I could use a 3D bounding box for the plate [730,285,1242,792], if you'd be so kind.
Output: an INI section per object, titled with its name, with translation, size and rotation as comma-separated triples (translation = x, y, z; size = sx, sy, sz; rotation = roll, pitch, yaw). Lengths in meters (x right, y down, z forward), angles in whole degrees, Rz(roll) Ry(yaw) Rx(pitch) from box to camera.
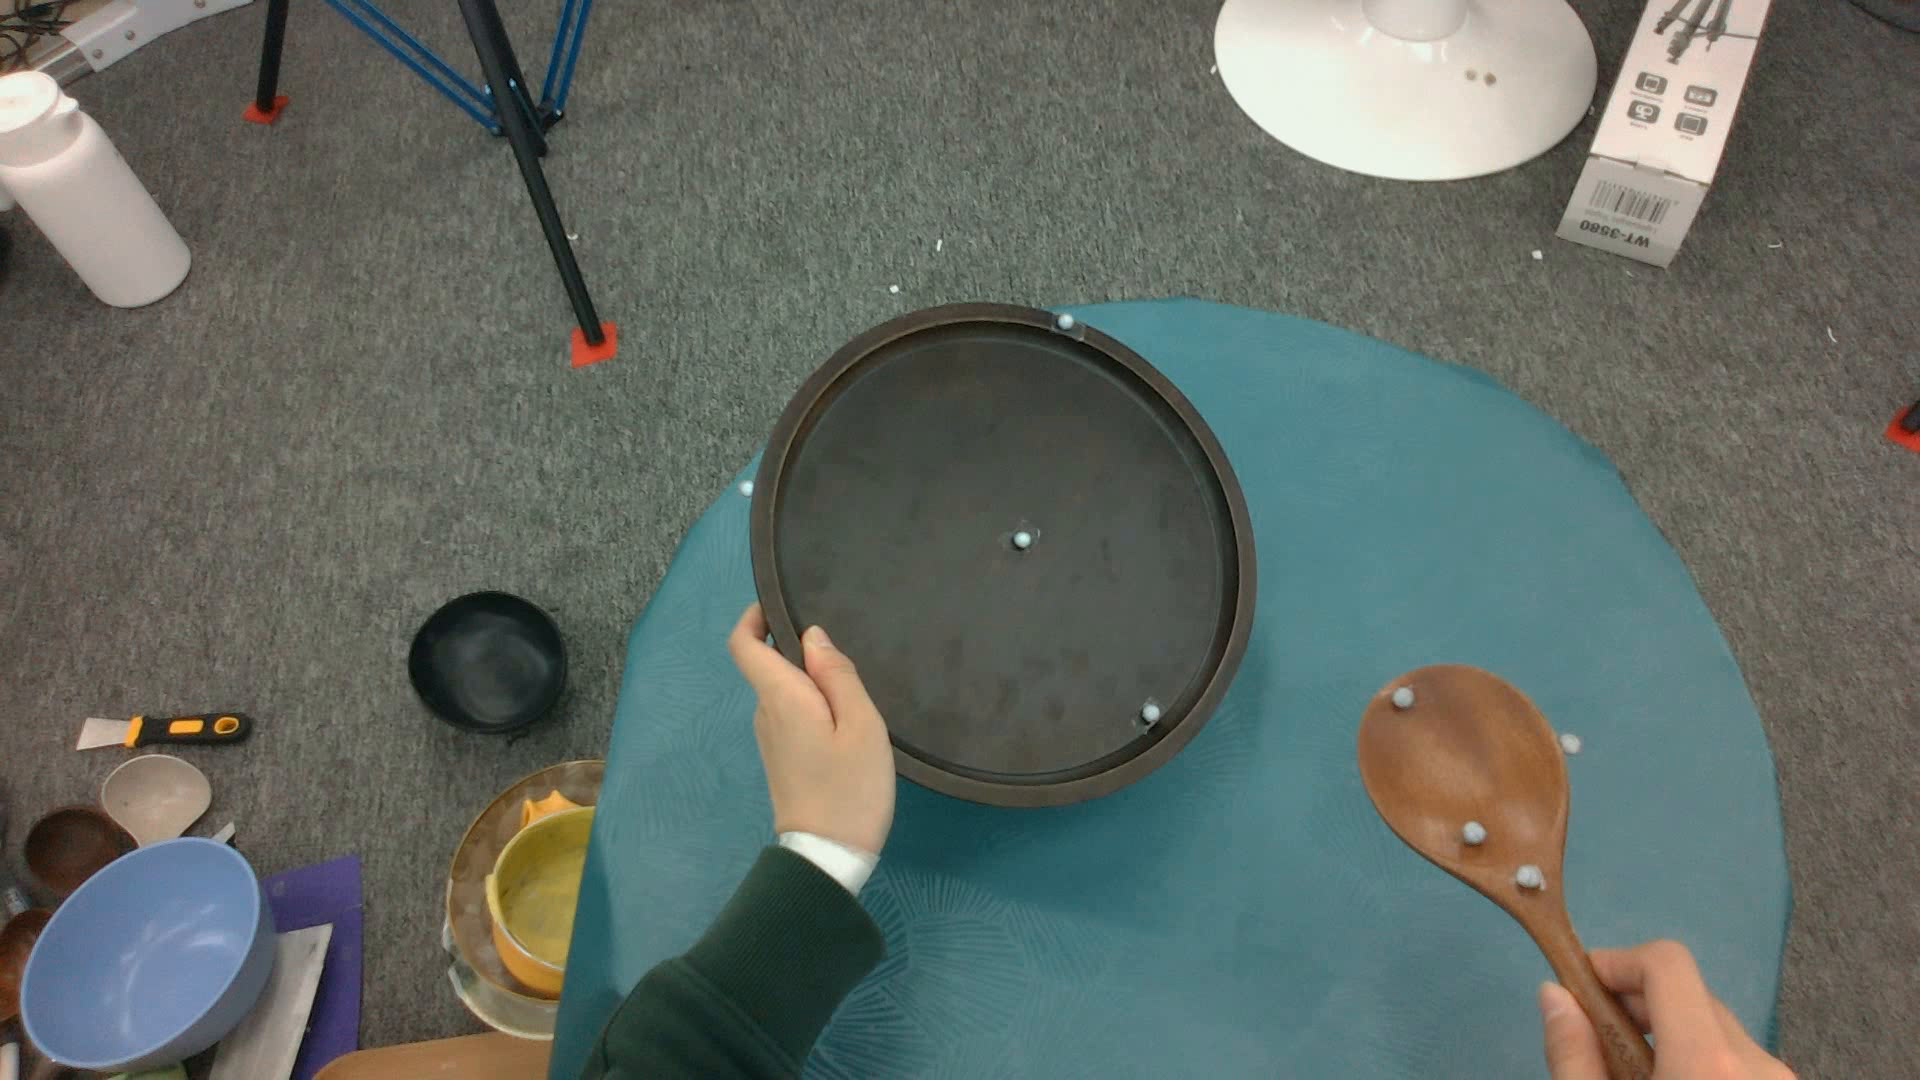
[plate]
translation = 0.017, -0.005, 0.663
size = 0.255, 0.029, 0.255
rotation = 5, 70, -14

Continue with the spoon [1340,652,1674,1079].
[spoon]
translation = 0.205, 0.129, 0.503
size = 0.075, 0.017, 0.216
rotation = -21, 47, 4
